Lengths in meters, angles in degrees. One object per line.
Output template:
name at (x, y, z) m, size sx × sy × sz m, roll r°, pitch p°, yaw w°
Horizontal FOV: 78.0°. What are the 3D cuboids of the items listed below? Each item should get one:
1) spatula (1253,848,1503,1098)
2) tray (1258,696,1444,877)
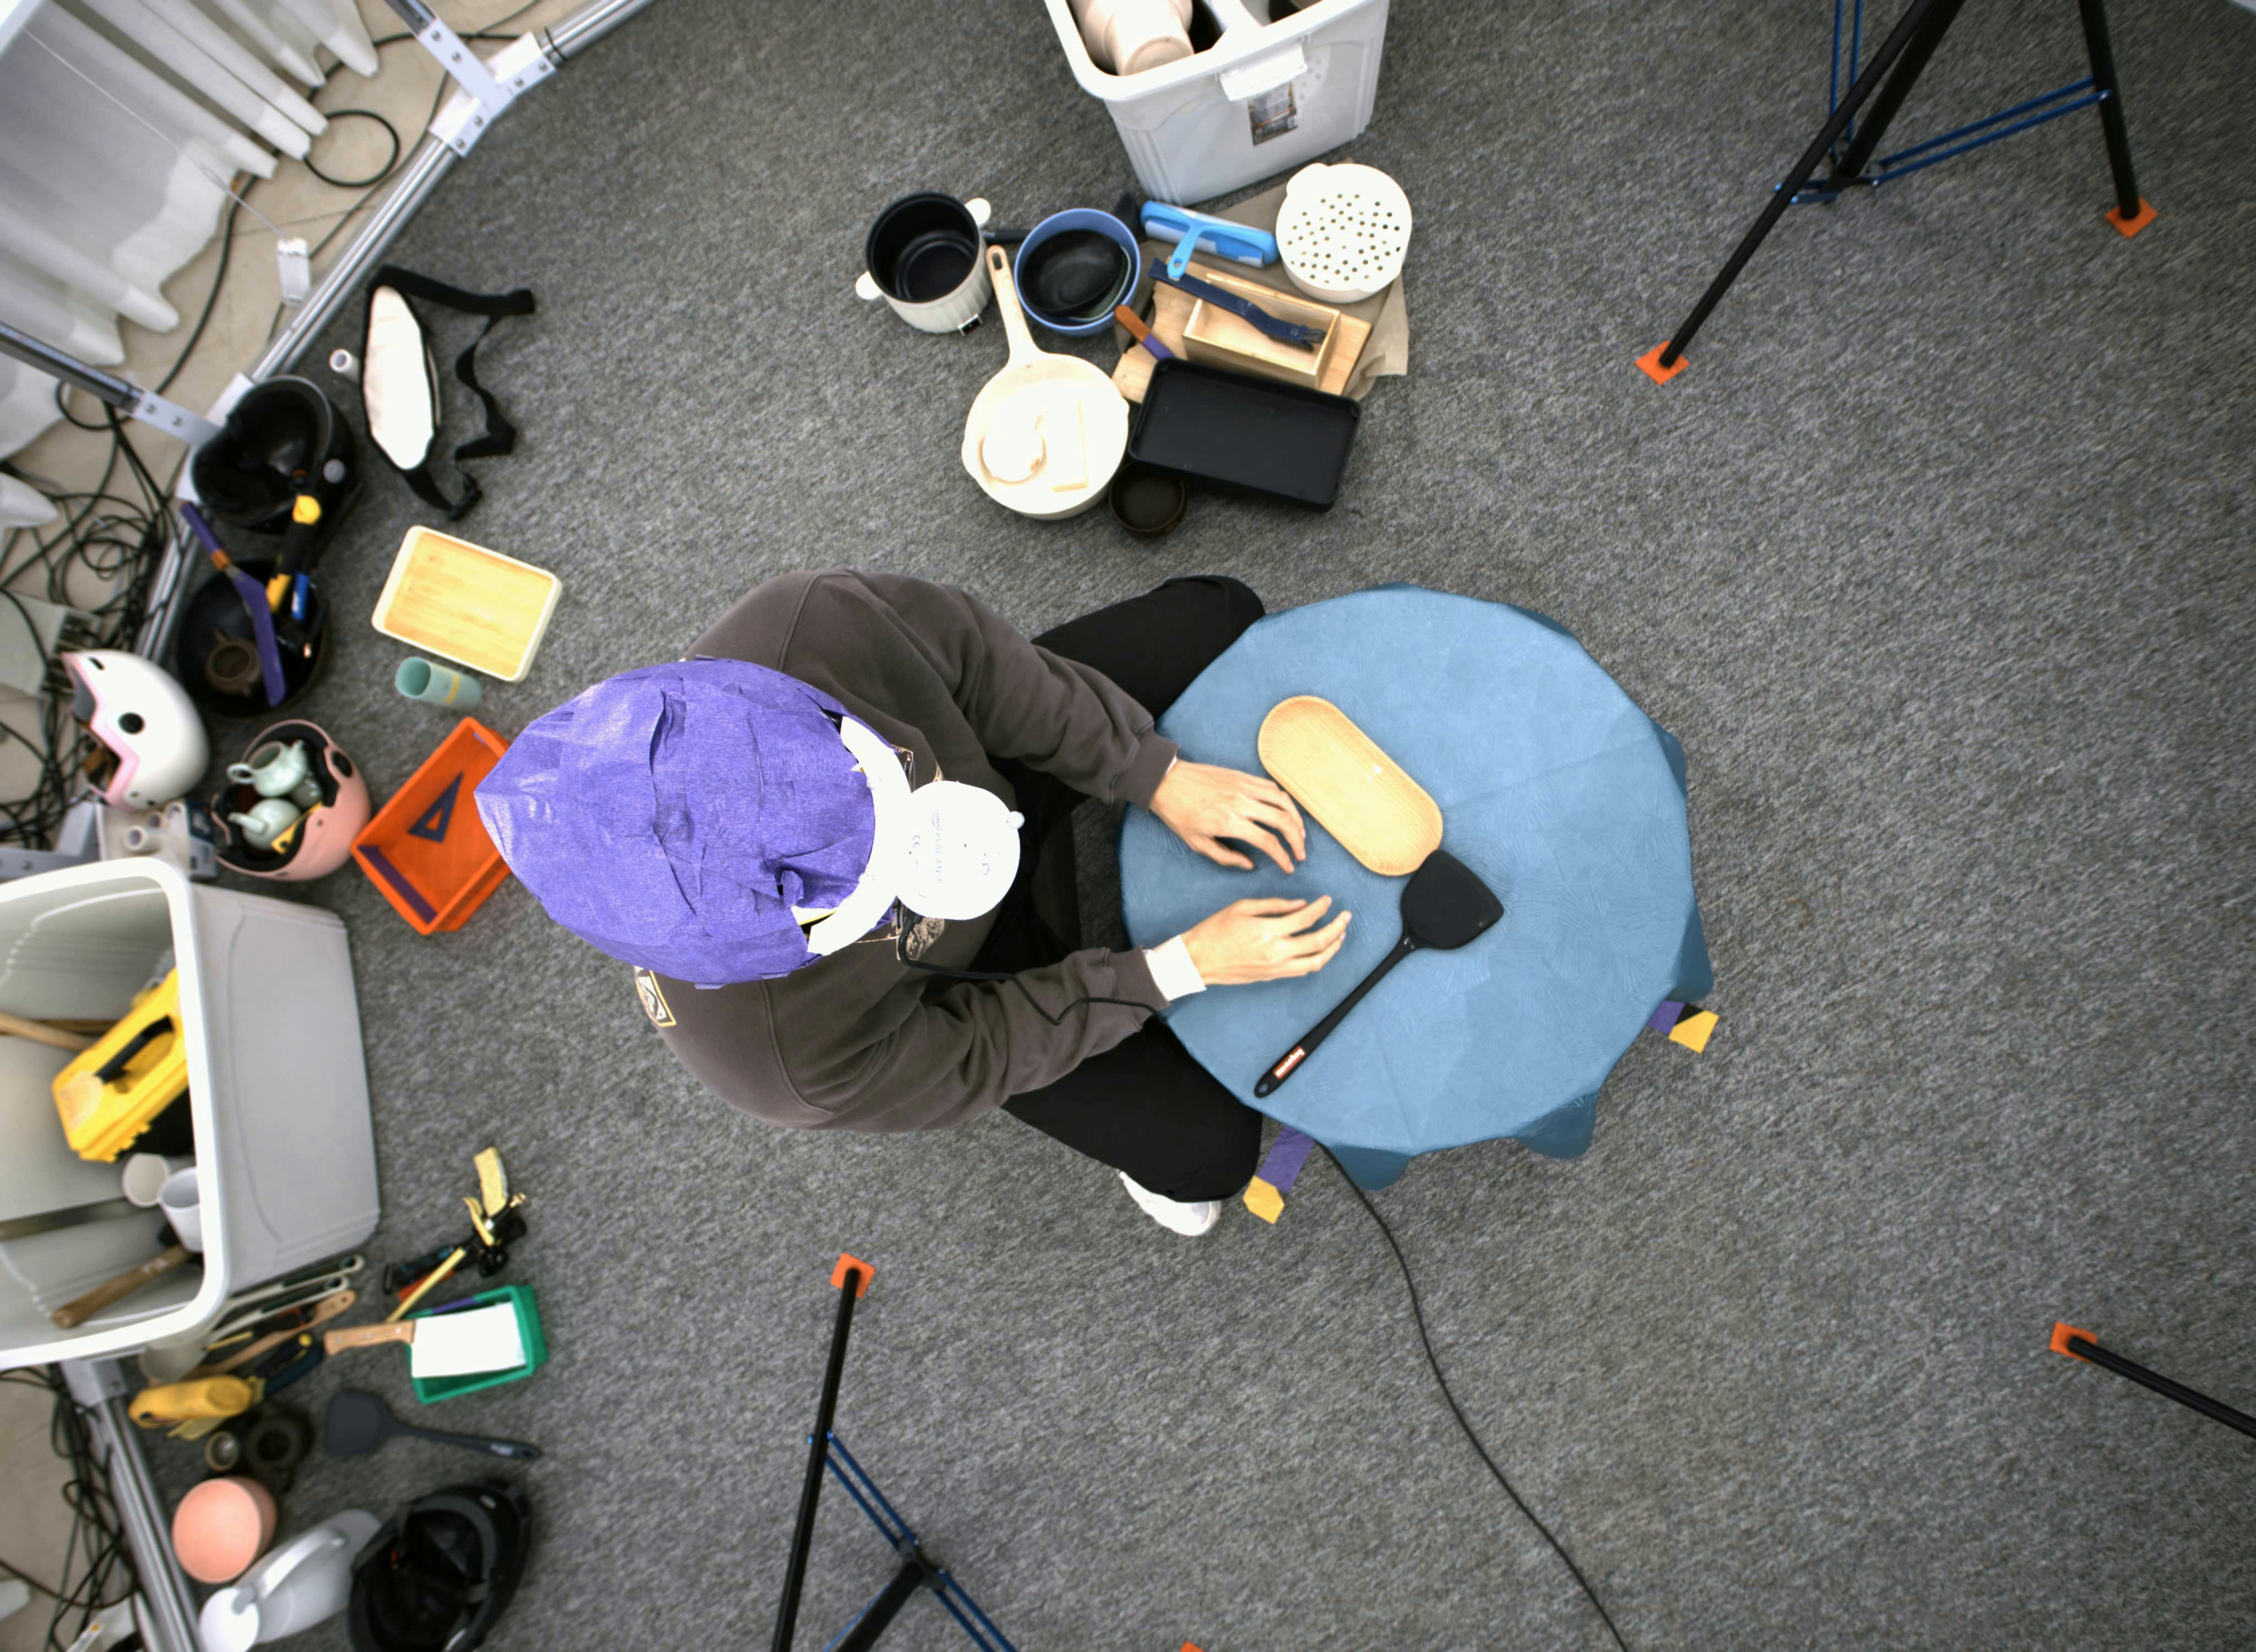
spatula at (0.245, 0.166, 1.439) m, size 0.327 × 0.040 × 0.099 m, roll -46°, pitch 79°, yaw 5°
tray at (0.235, -0.044, 1.461) m, size 0.230 × 0.020 × 0.102 m, roll 45°, pitch 95°, yaw 8°
